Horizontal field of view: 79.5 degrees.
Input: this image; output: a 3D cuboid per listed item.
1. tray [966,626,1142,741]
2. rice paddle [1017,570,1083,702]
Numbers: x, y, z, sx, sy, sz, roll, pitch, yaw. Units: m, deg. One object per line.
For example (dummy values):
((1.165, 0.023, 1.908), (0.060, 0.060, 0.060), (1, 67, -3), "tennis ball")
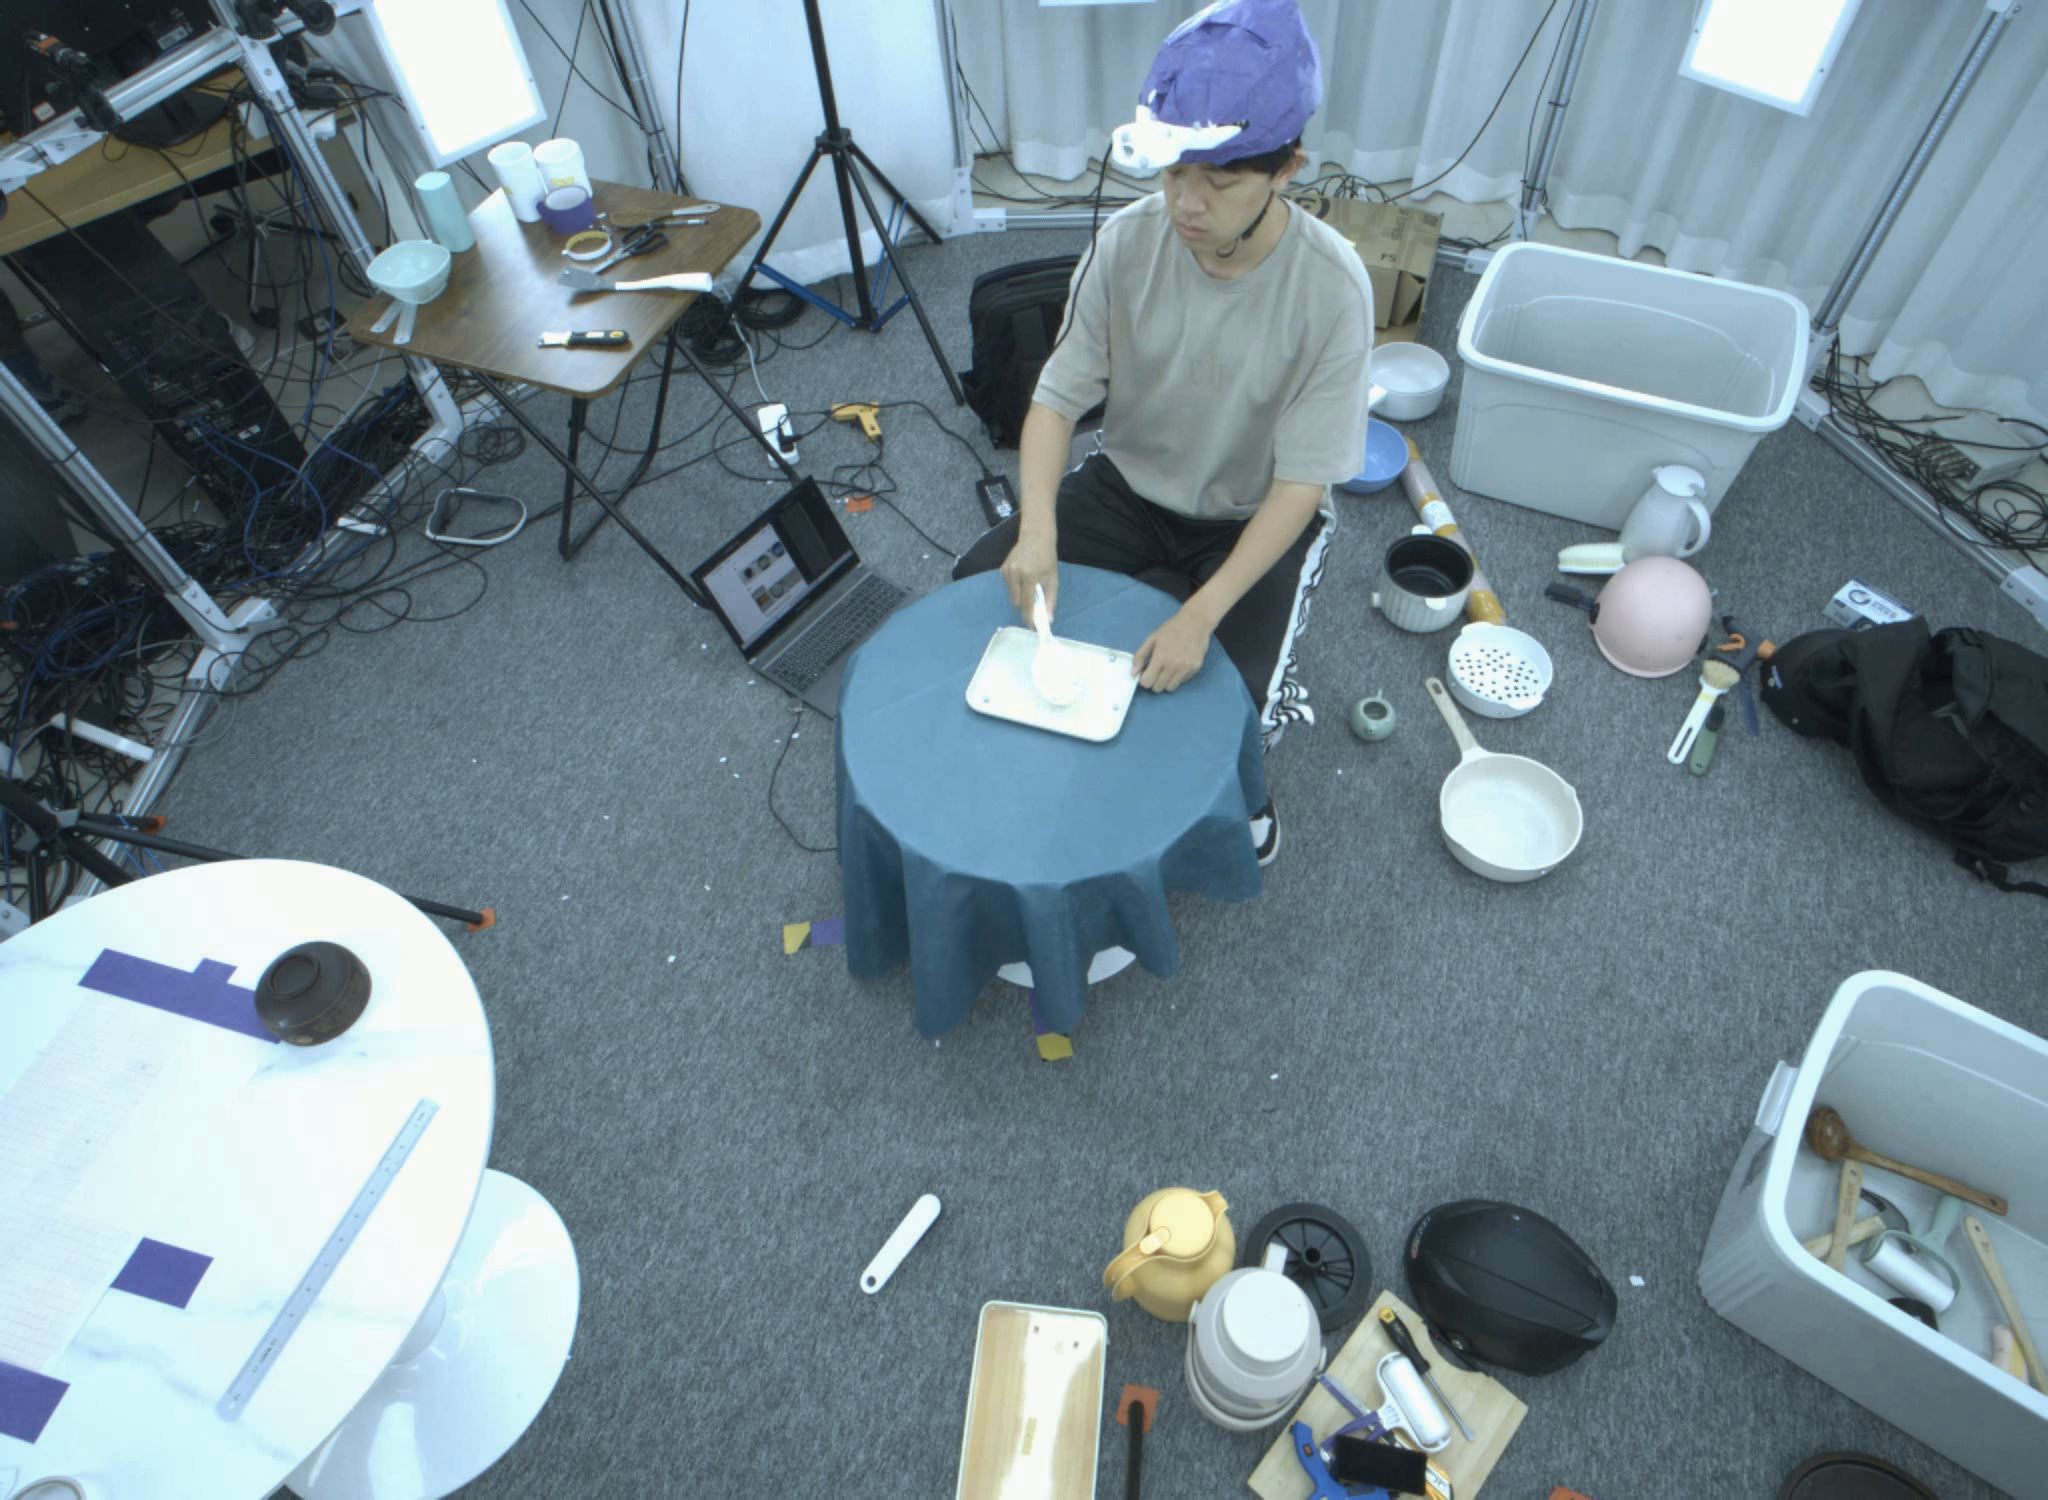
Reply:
((0.045, -0.100, 1.843), (0.237, 0.017, 0.171), (15, 58, 12), "tray")
((0.033, -0.168, 1.814), (0.069, 0.029, 0.204), (-17, 81, -2), "rice paddle")
